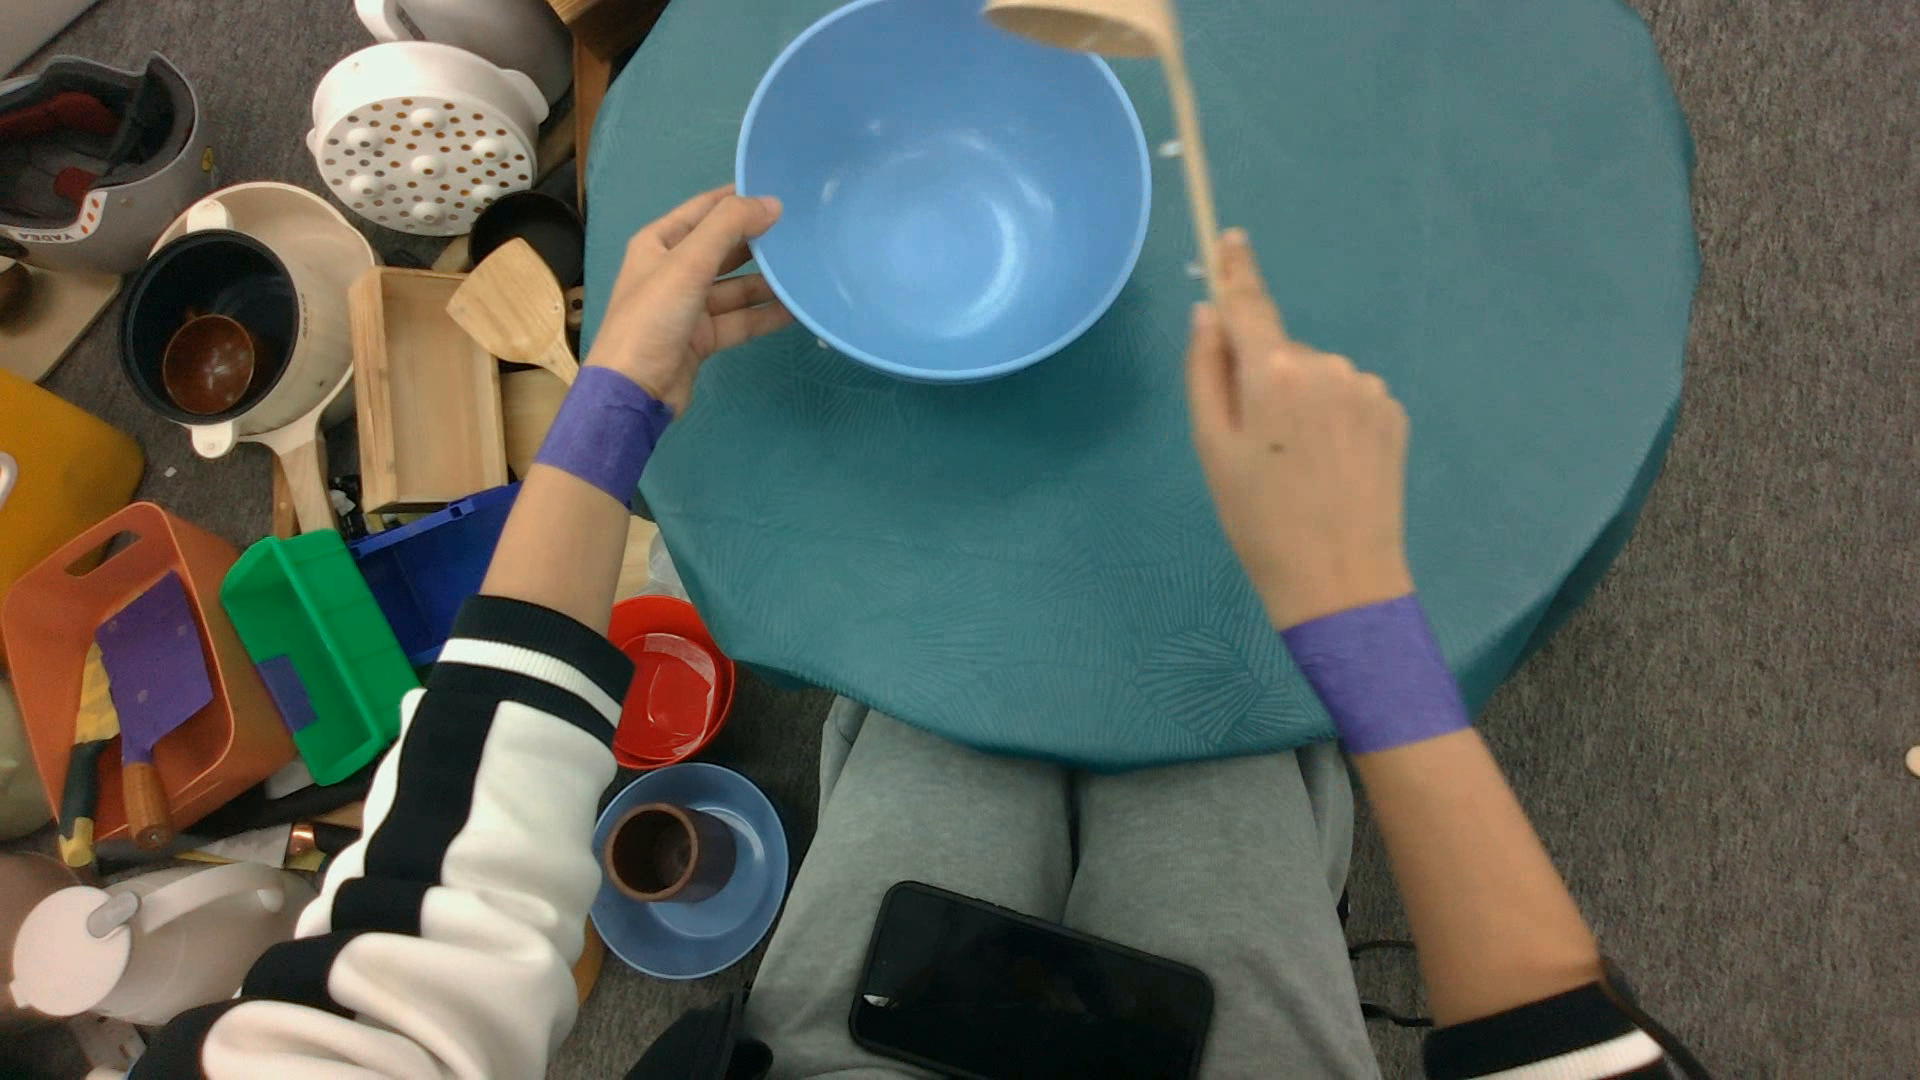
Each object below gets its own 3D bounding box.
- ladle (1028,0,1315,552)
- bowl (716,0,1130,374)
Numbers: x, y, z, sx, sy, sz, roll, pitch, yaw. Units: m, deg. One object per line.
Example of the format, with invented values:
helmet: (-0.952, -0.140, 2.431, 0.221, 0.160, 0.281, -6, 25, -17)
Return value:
ladle: (0.082, -0.114, 0.548, 0.072, 0.072, 0.254, -10, 92, 20)
bowl: (-0.020, -0.167, 0.694, 0.196, 0.095, 0.197, 1, 79, -6)
